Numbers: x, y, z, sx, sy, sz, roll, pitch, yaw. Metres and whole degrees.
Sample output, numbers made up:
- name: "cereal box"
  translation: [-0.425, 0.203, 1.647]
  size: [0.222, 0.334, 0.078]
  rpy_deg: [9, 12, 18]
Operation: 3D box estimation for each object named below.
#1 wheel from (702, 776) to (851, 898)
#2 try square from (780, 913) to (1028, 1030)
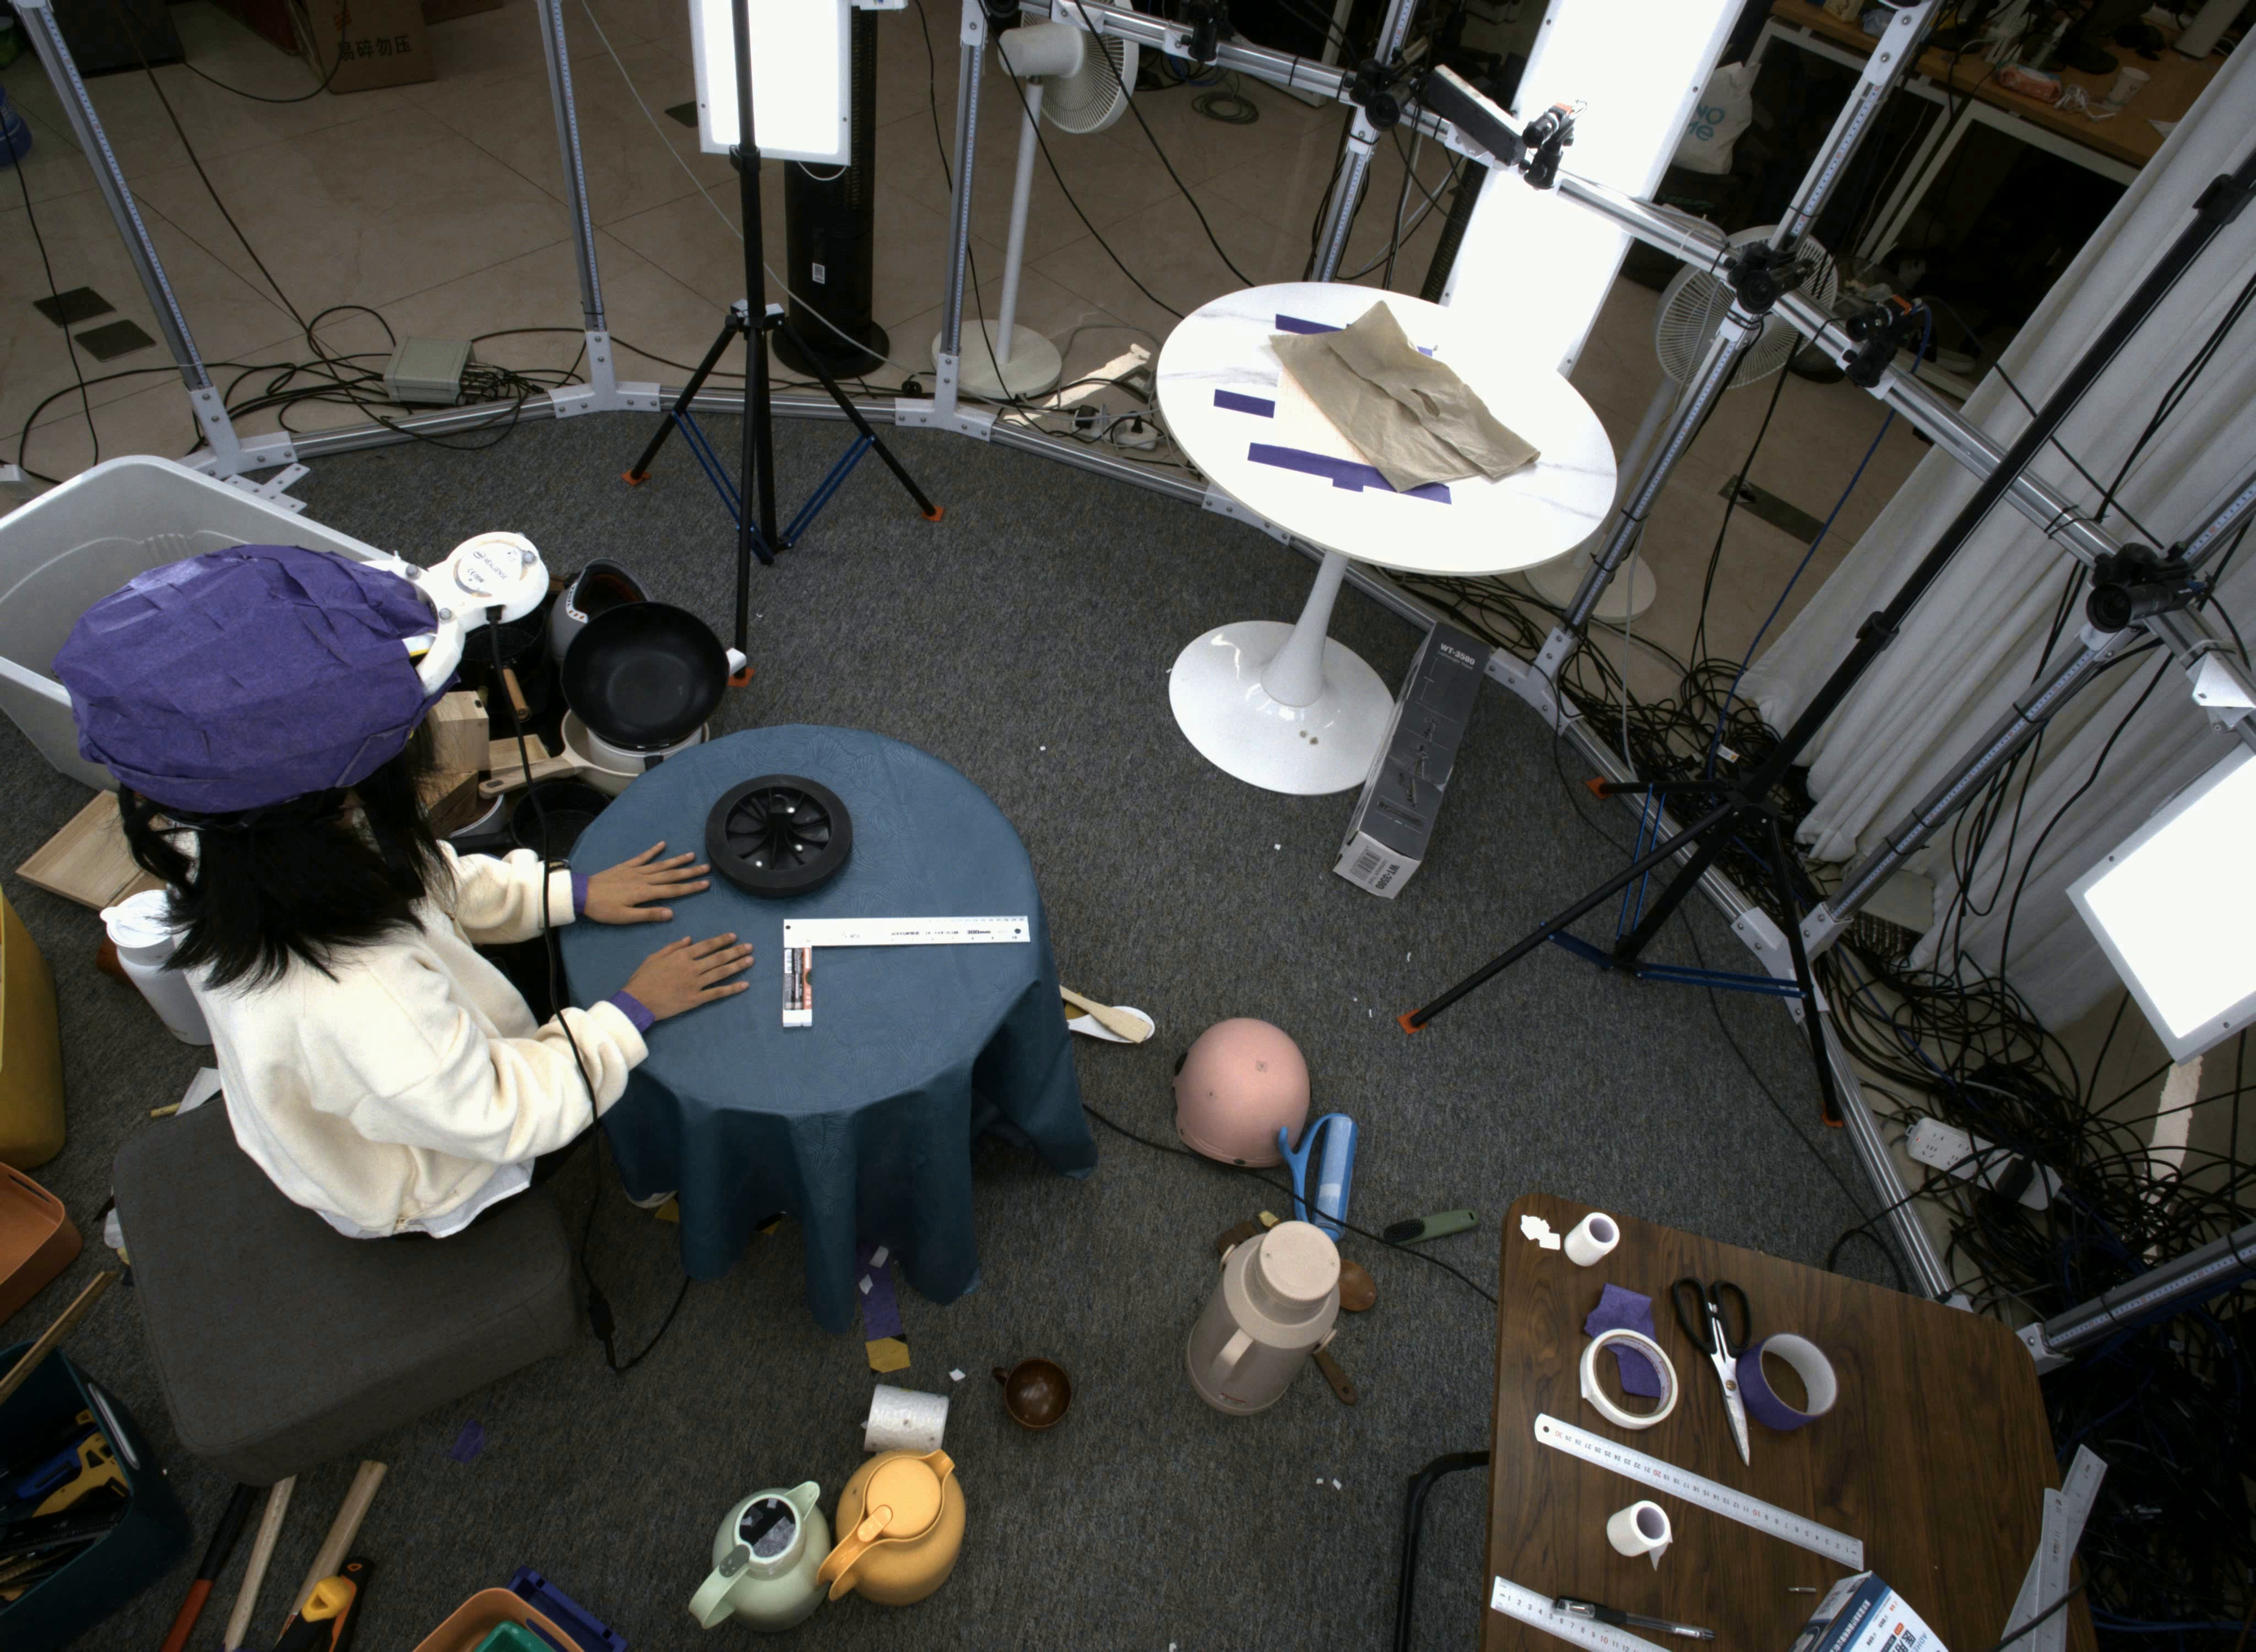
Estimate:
- name: "wheel"
  translation: [-0.452, -0.003, 1.664]
  size: [0.187, 0.081, 0.186]
  rpy_deg: [28, 52, 7]
- name: "try square"
  translation: [-0.275, 0.176, 1.625]
  size: [0.314, 0.016, 0.149]
  rpy_deg: [0, 57, -16]
